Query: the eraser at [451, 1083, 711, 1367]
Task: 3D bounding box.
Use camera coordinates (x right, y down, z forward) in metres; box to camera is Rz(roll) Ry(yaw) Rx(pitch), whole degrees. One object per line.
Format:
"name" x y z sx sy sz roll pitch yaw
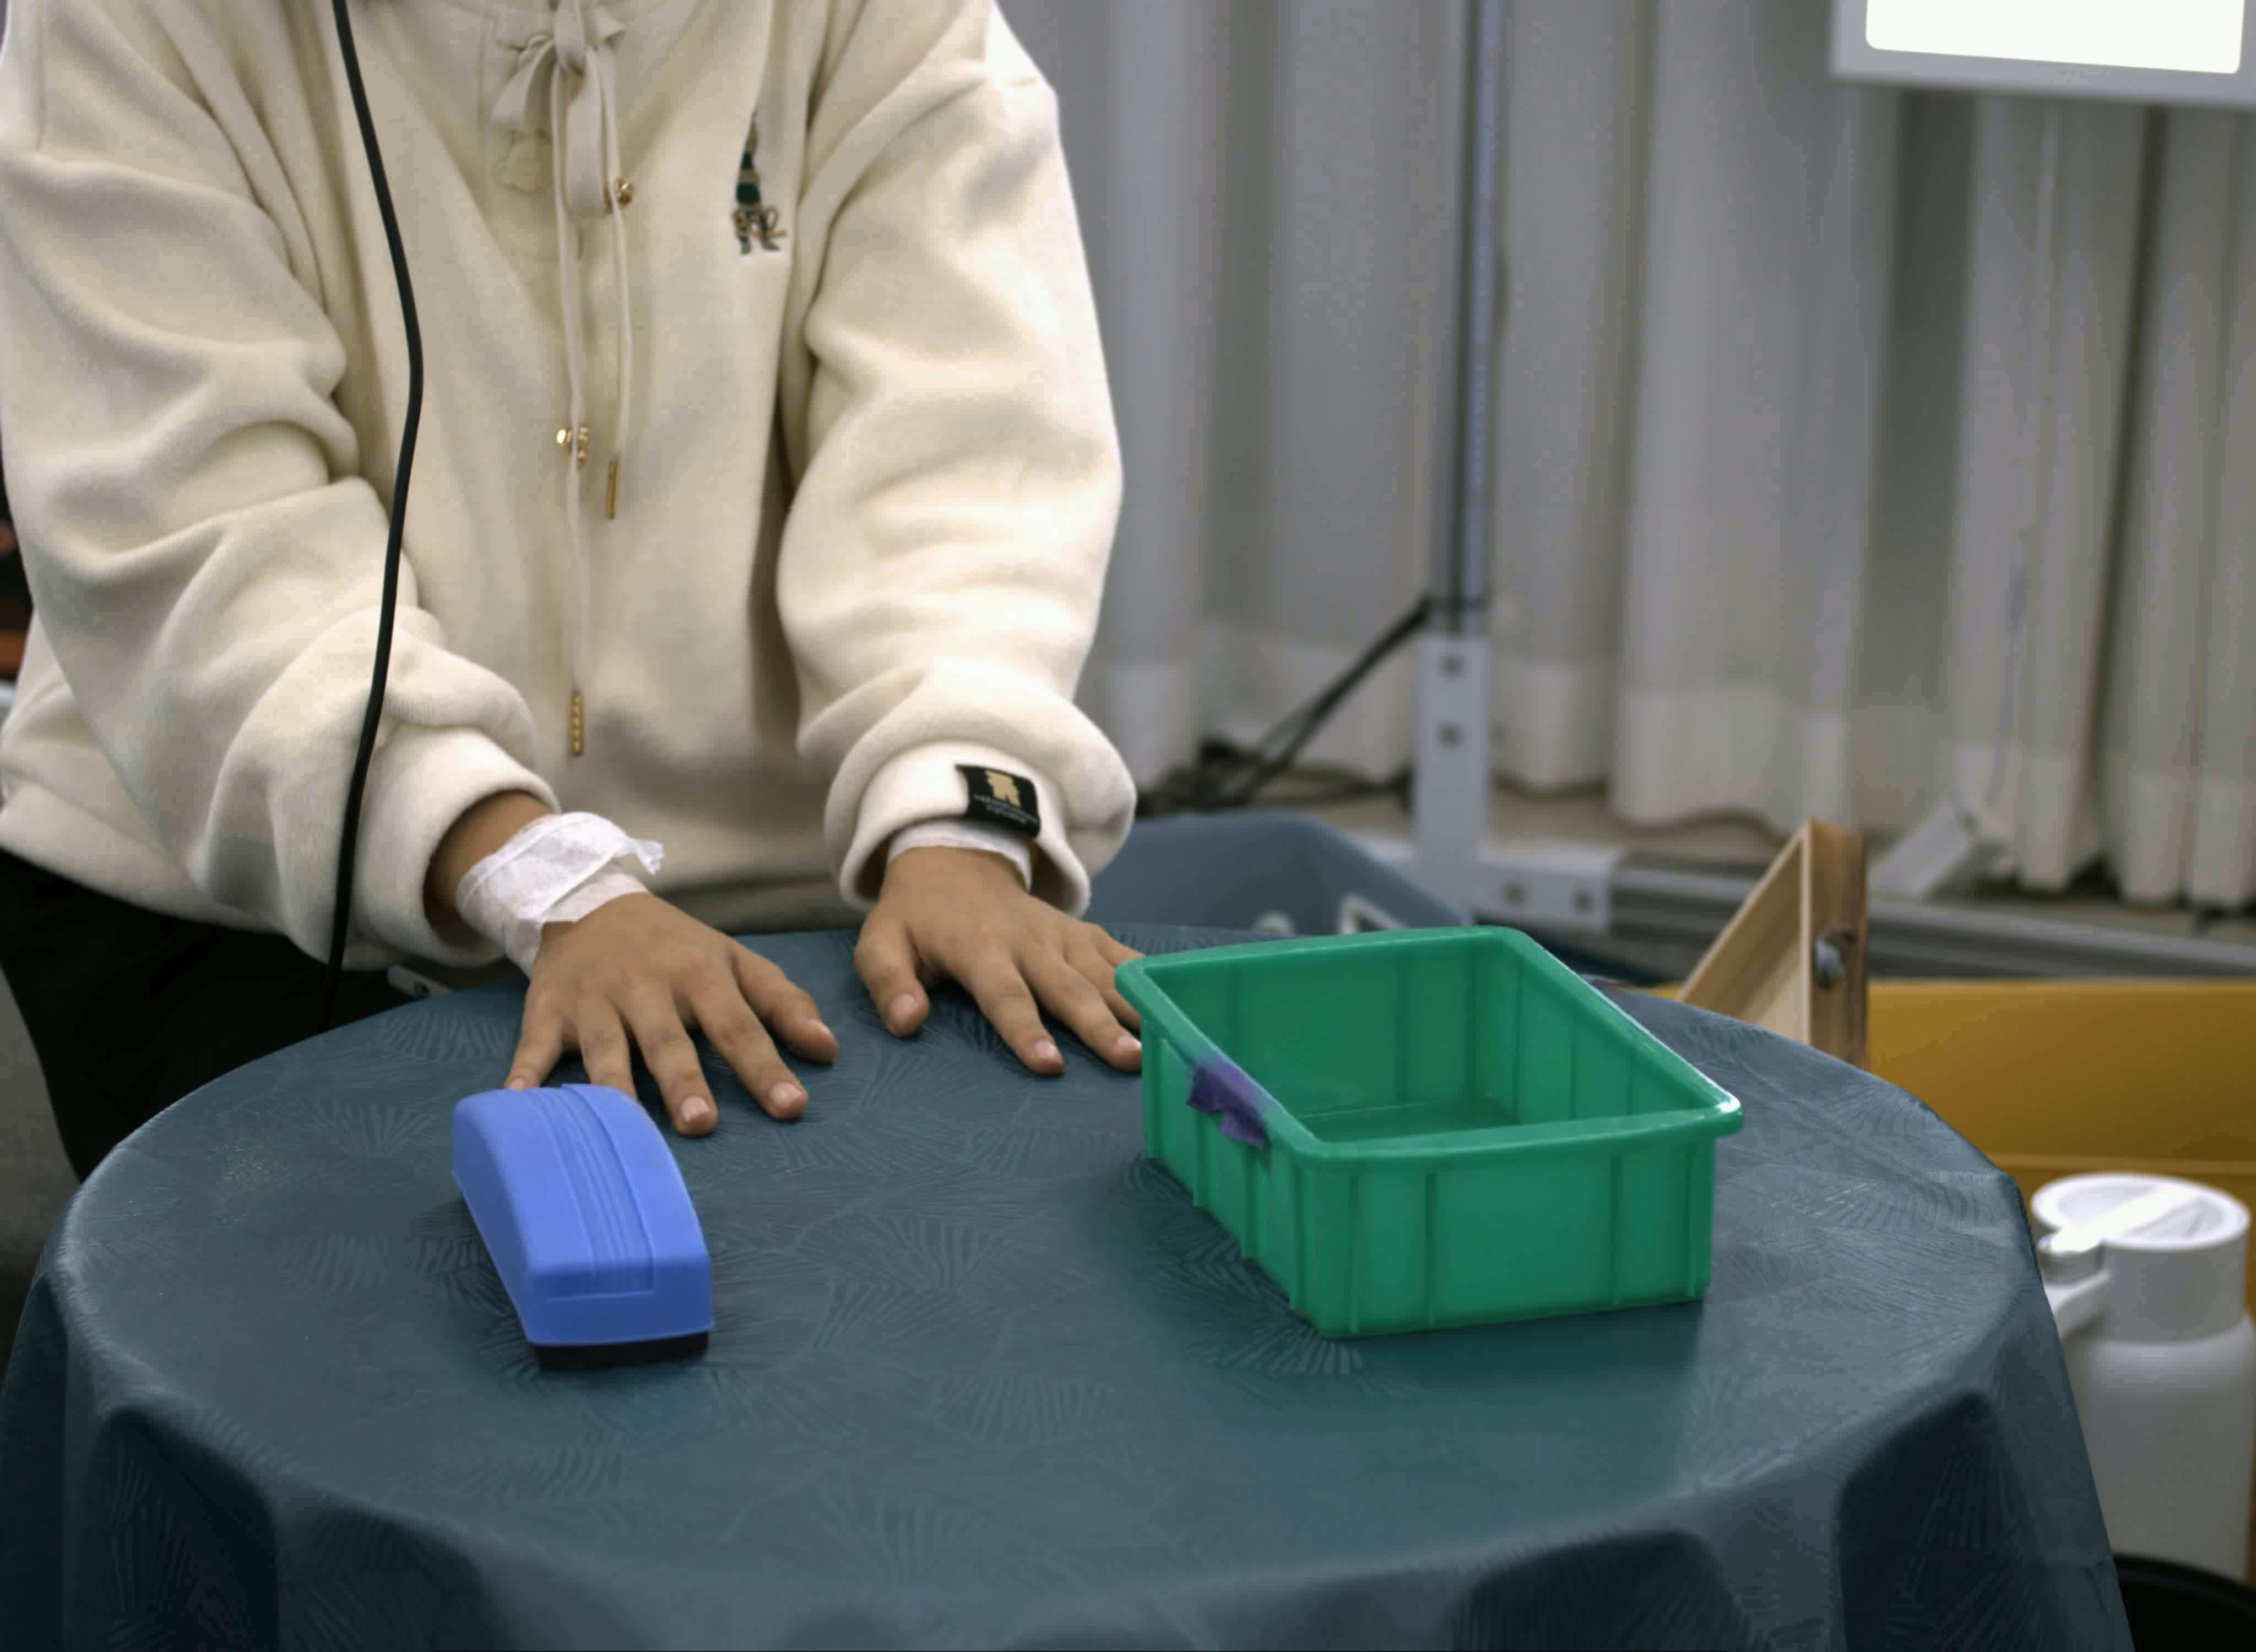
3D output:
"eraser" -0.162 0.110 1.539 0.054 0.048 0.160 -4 16 -15

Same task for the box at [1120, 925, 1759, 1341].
"box" 0.090 0.091 1.585 0.139 0.066 0.208 -7 17 -17
